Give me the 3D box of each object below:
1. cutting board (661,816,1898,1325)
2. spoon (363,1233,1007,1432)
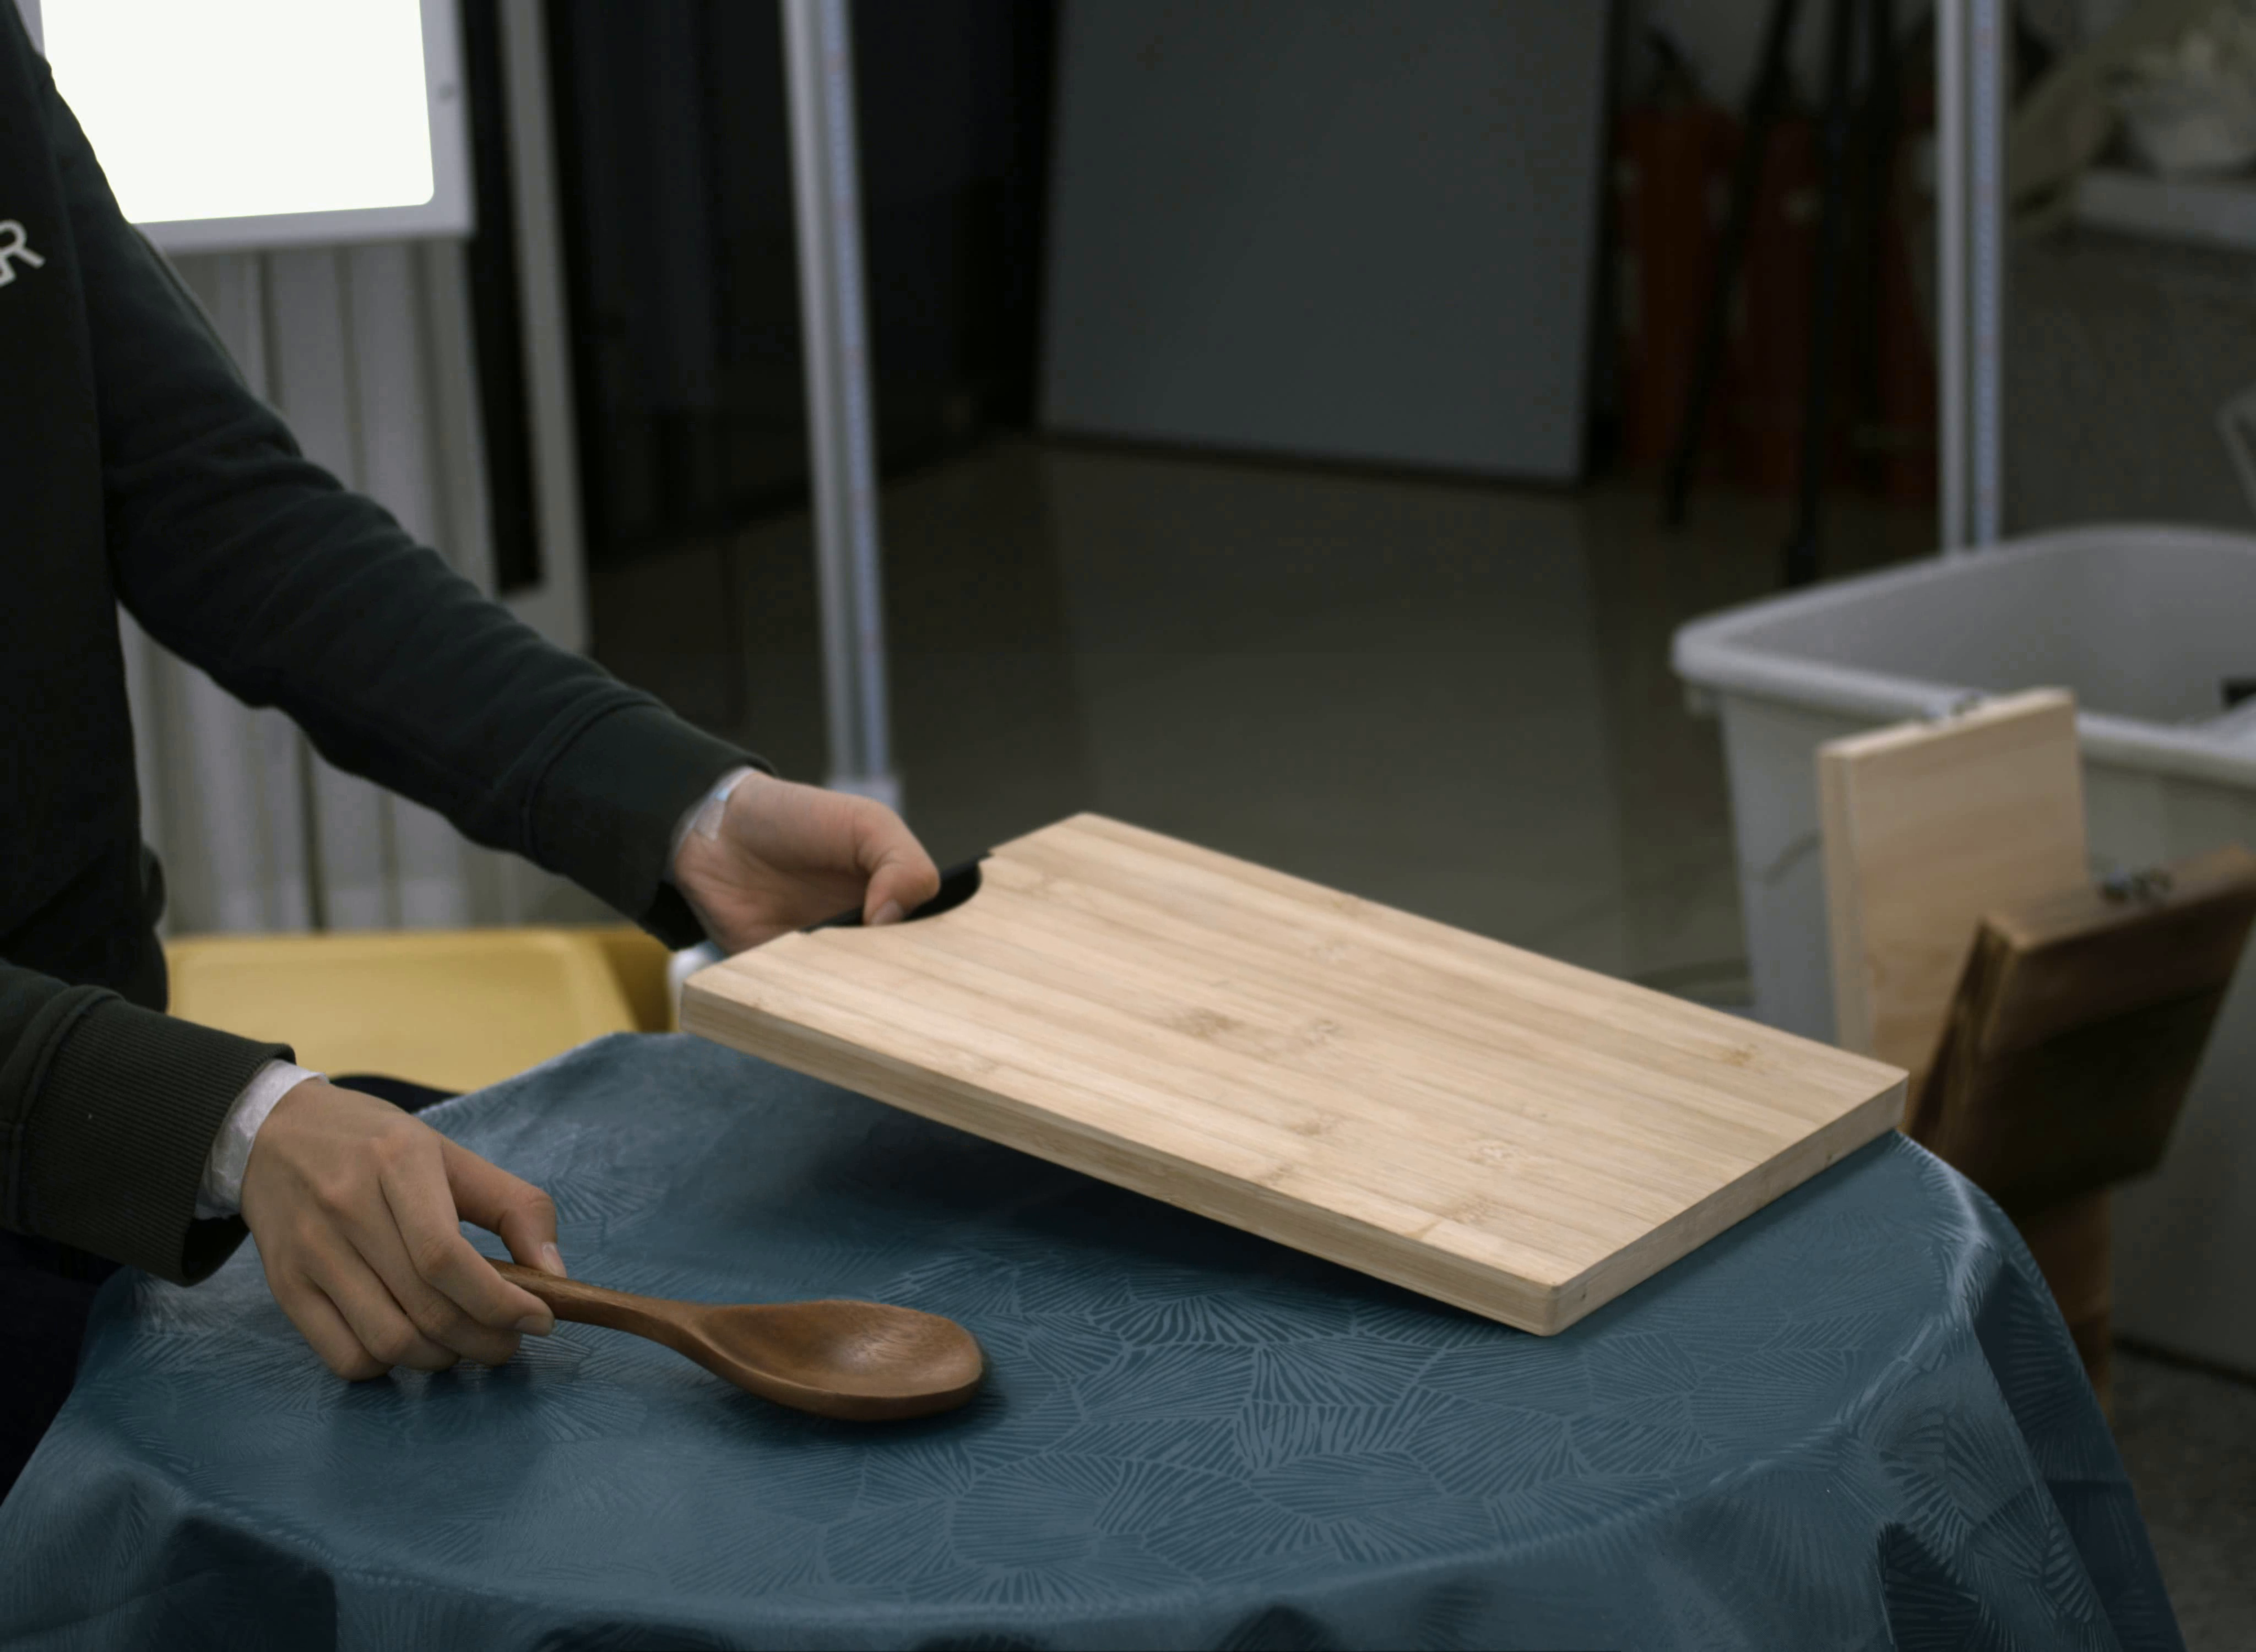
[{"bbox_3d":[0.050,0.074,1.790,0.350,0.024,0.246,16,22,31],"label":"cutting board"},{"bbox_3d":[-0.135,0.150,1.620,0.216,0.017,0.074,11,21,25],"label":"spoon"}]
